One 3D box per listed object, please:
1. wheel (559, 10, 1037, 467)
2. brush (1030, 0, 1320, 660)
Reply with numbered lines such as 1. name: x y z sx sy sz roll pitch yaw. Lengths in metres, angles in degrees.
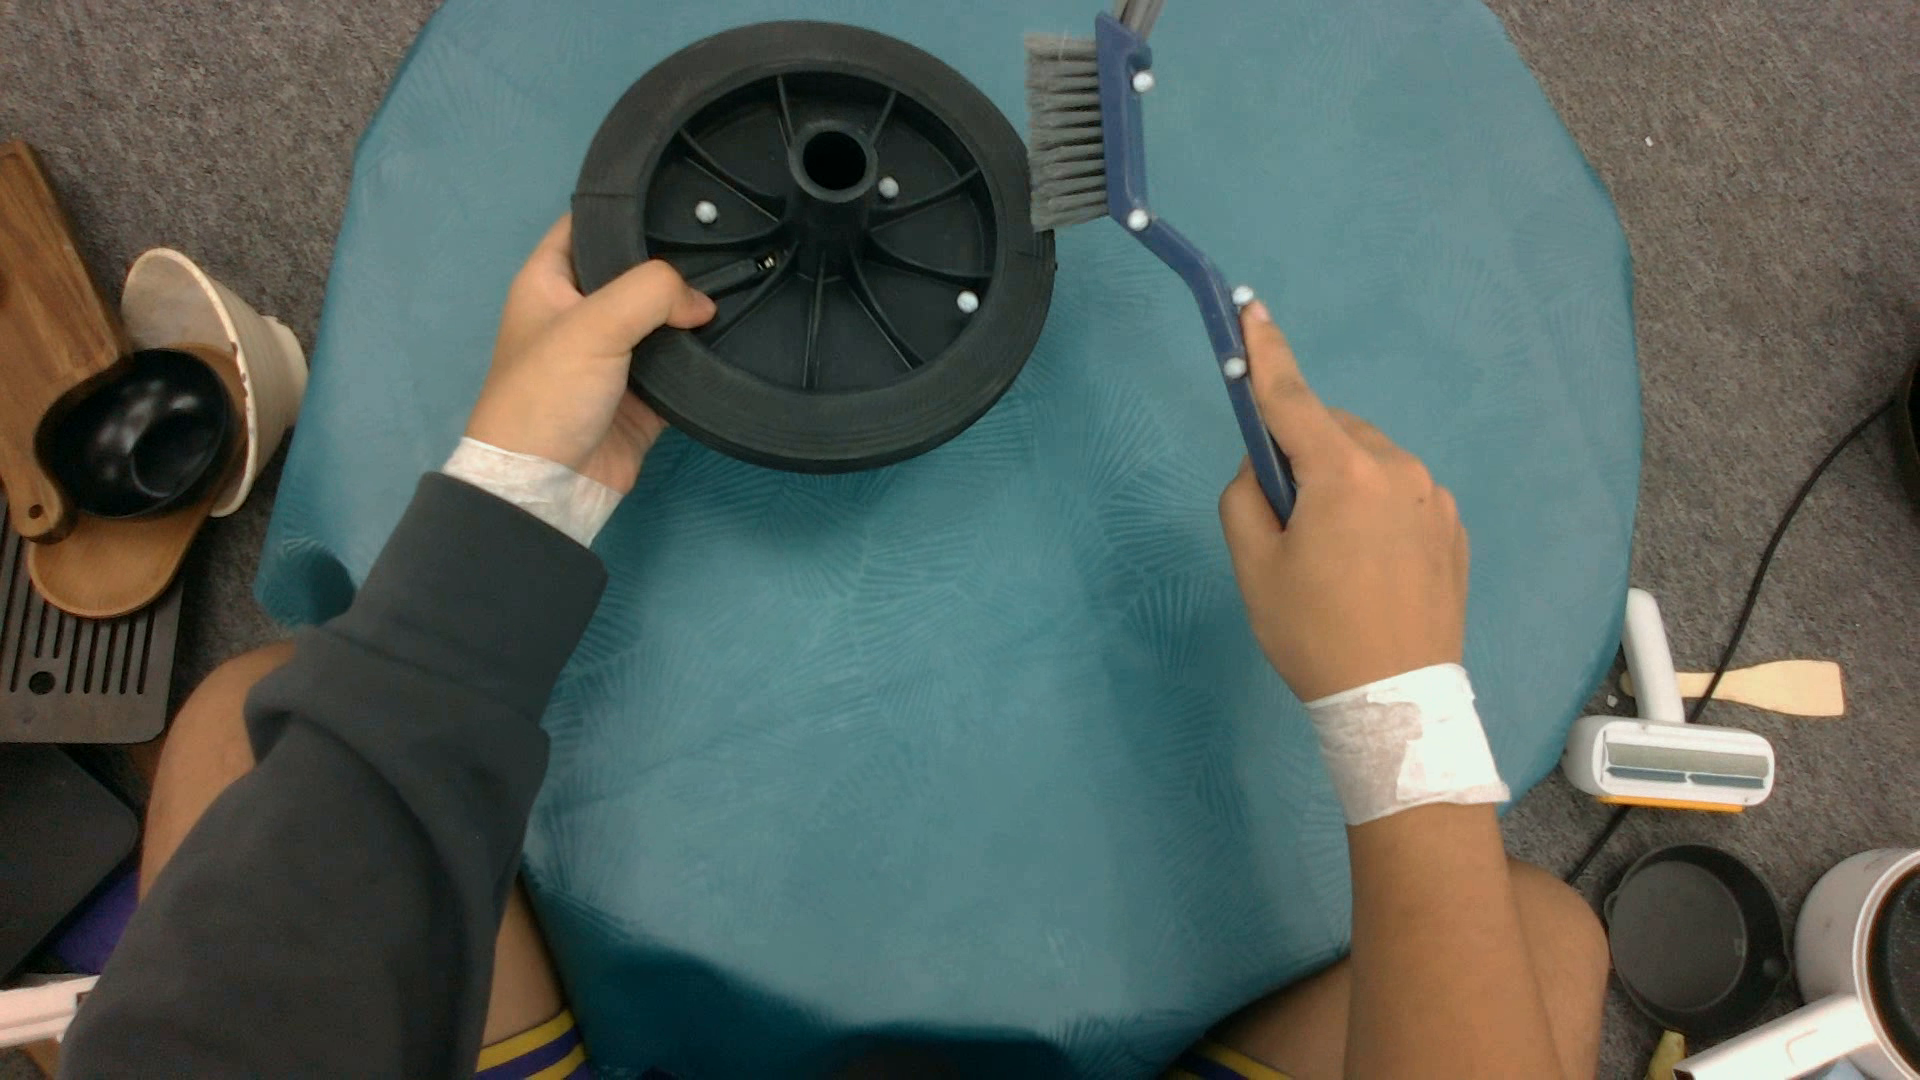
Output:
1. wheel: -0.059 -0.126 0.524 0.187 0.079 0.190 39 73 1
2. brush: 0.101 -0.090 0.529 0.095 0.033 0.273 -28 86 15
